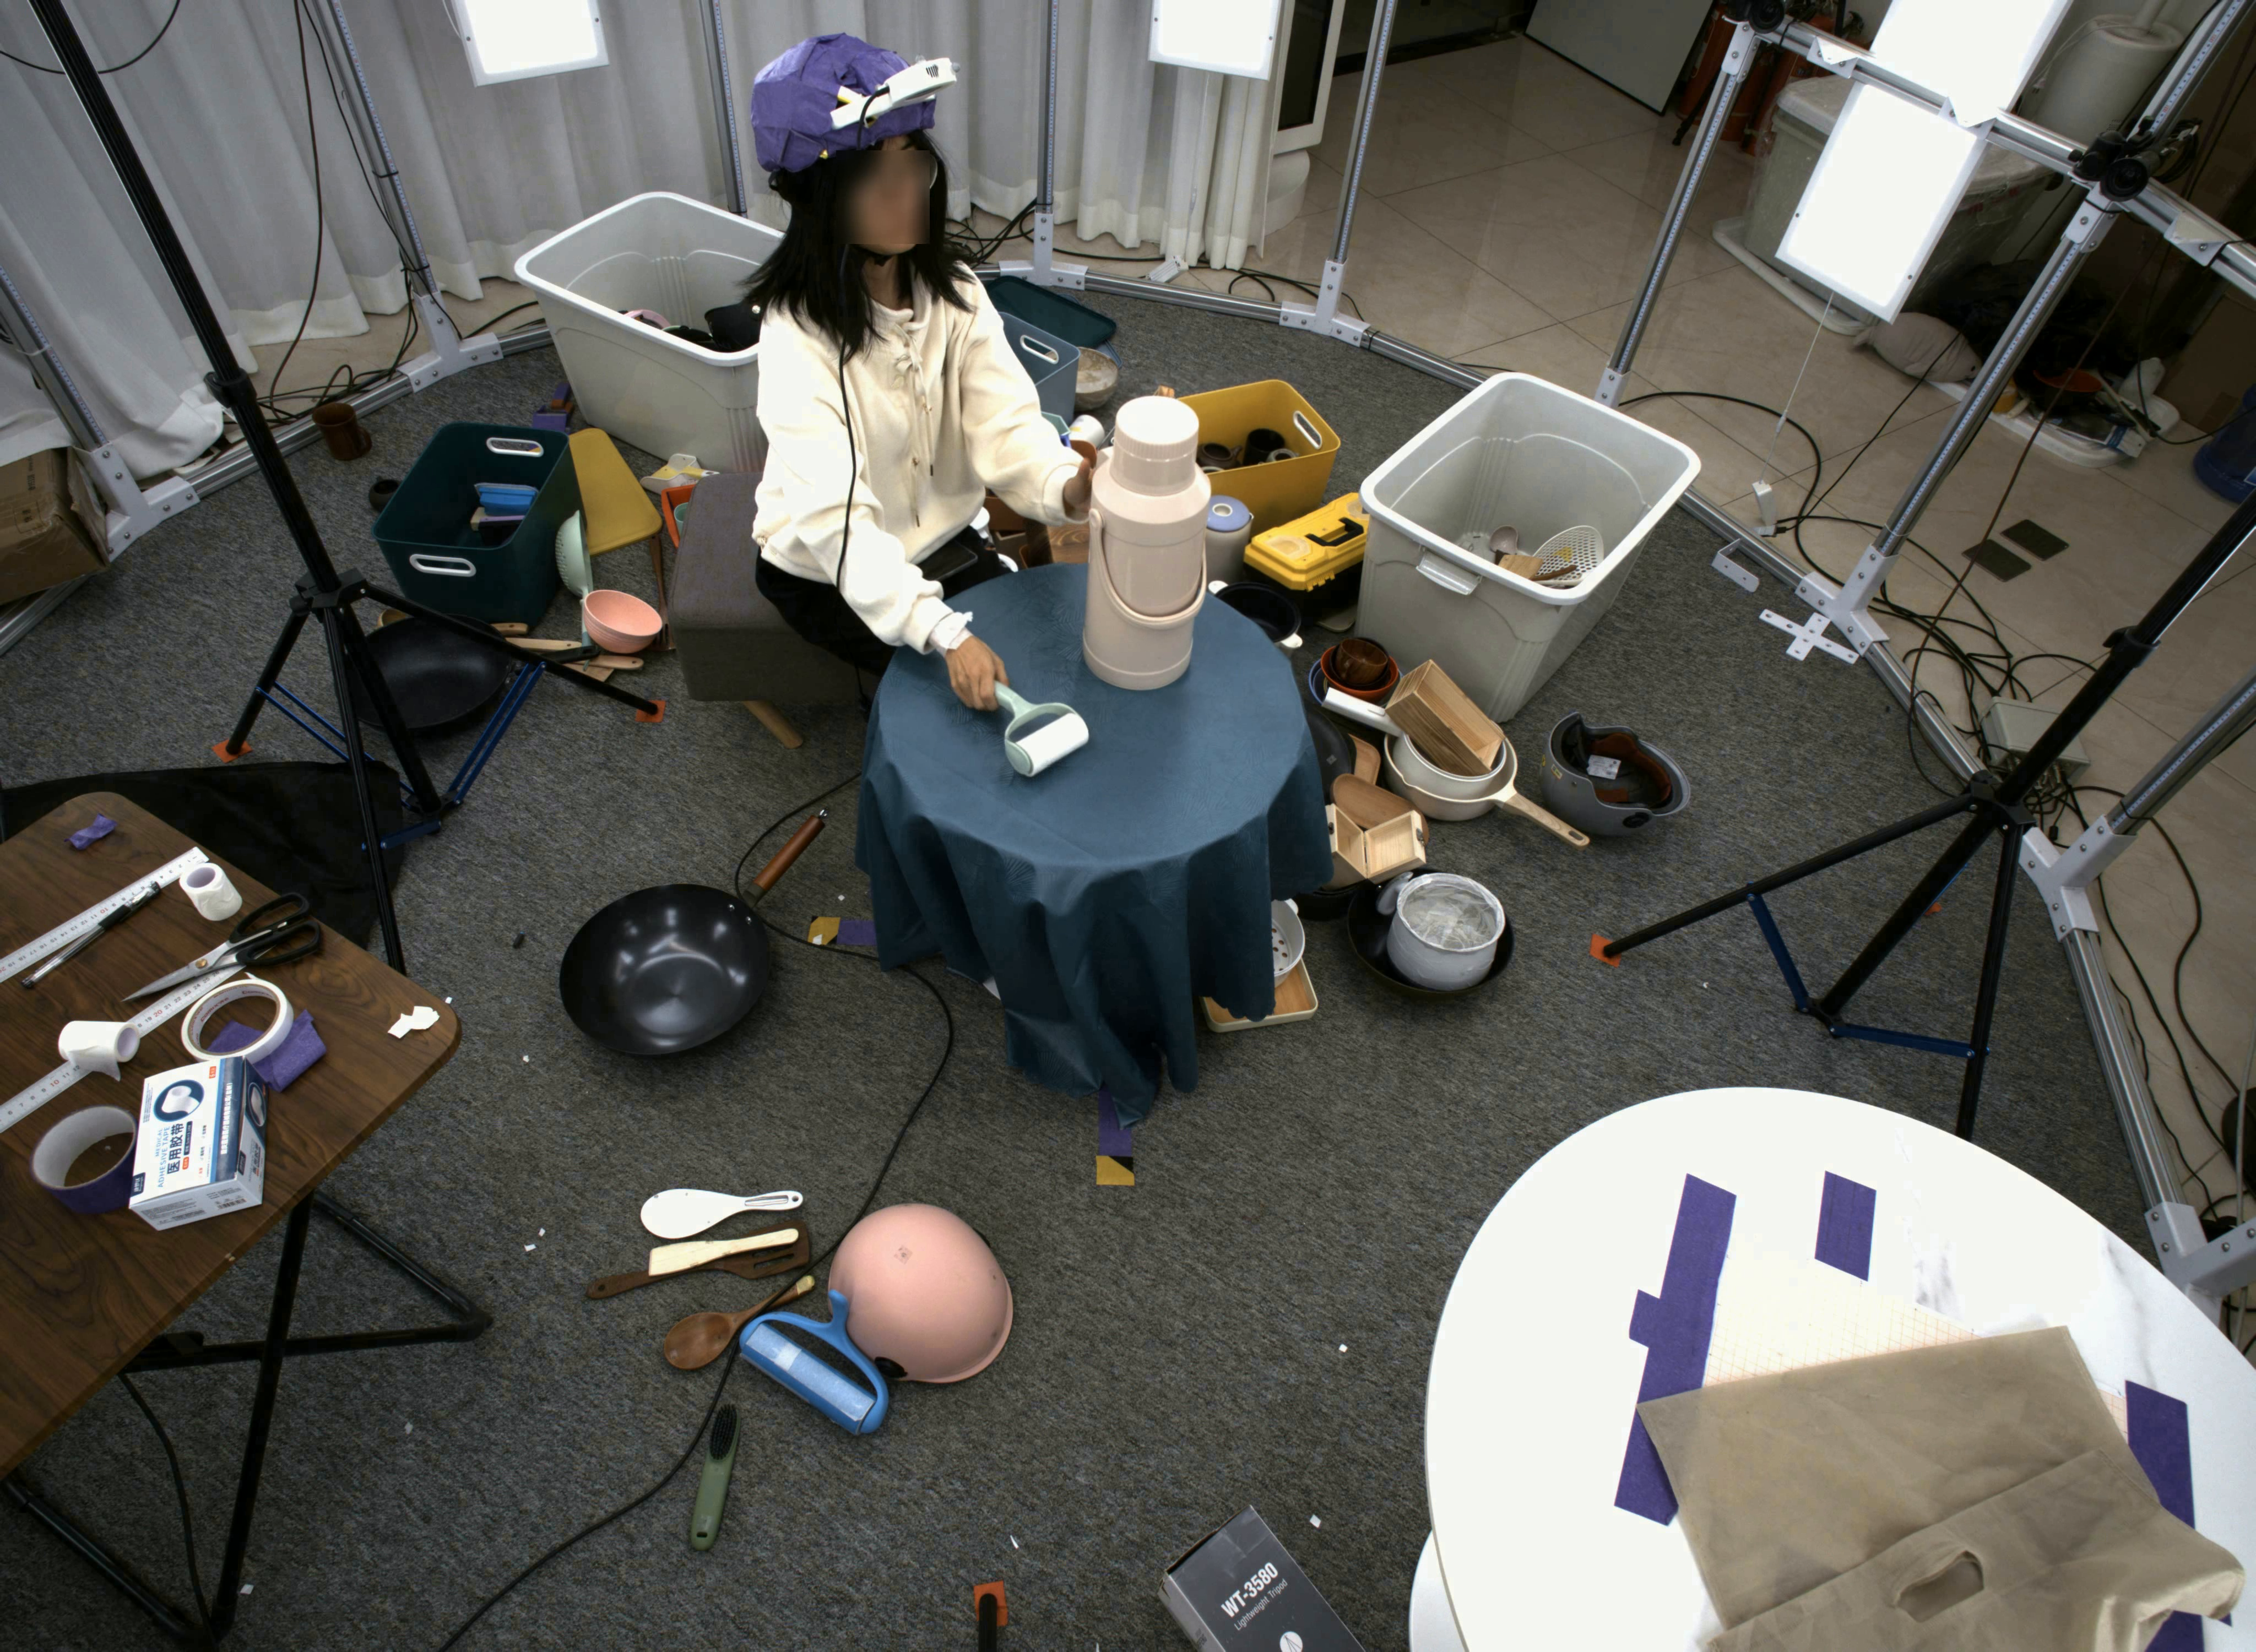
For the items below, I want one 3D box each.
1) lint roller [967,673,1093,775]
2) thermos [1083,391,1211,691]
[{"bbox_3d":[-0.148,-0.159,1.753,0.117,0.047,0.200,-33,64,-31],"label":"lint roller"},{"bbox_3d":[0.019,-0.389,1.754,0.176,0.396,0.211,-23,55,-22],"label":"thermos"}]
